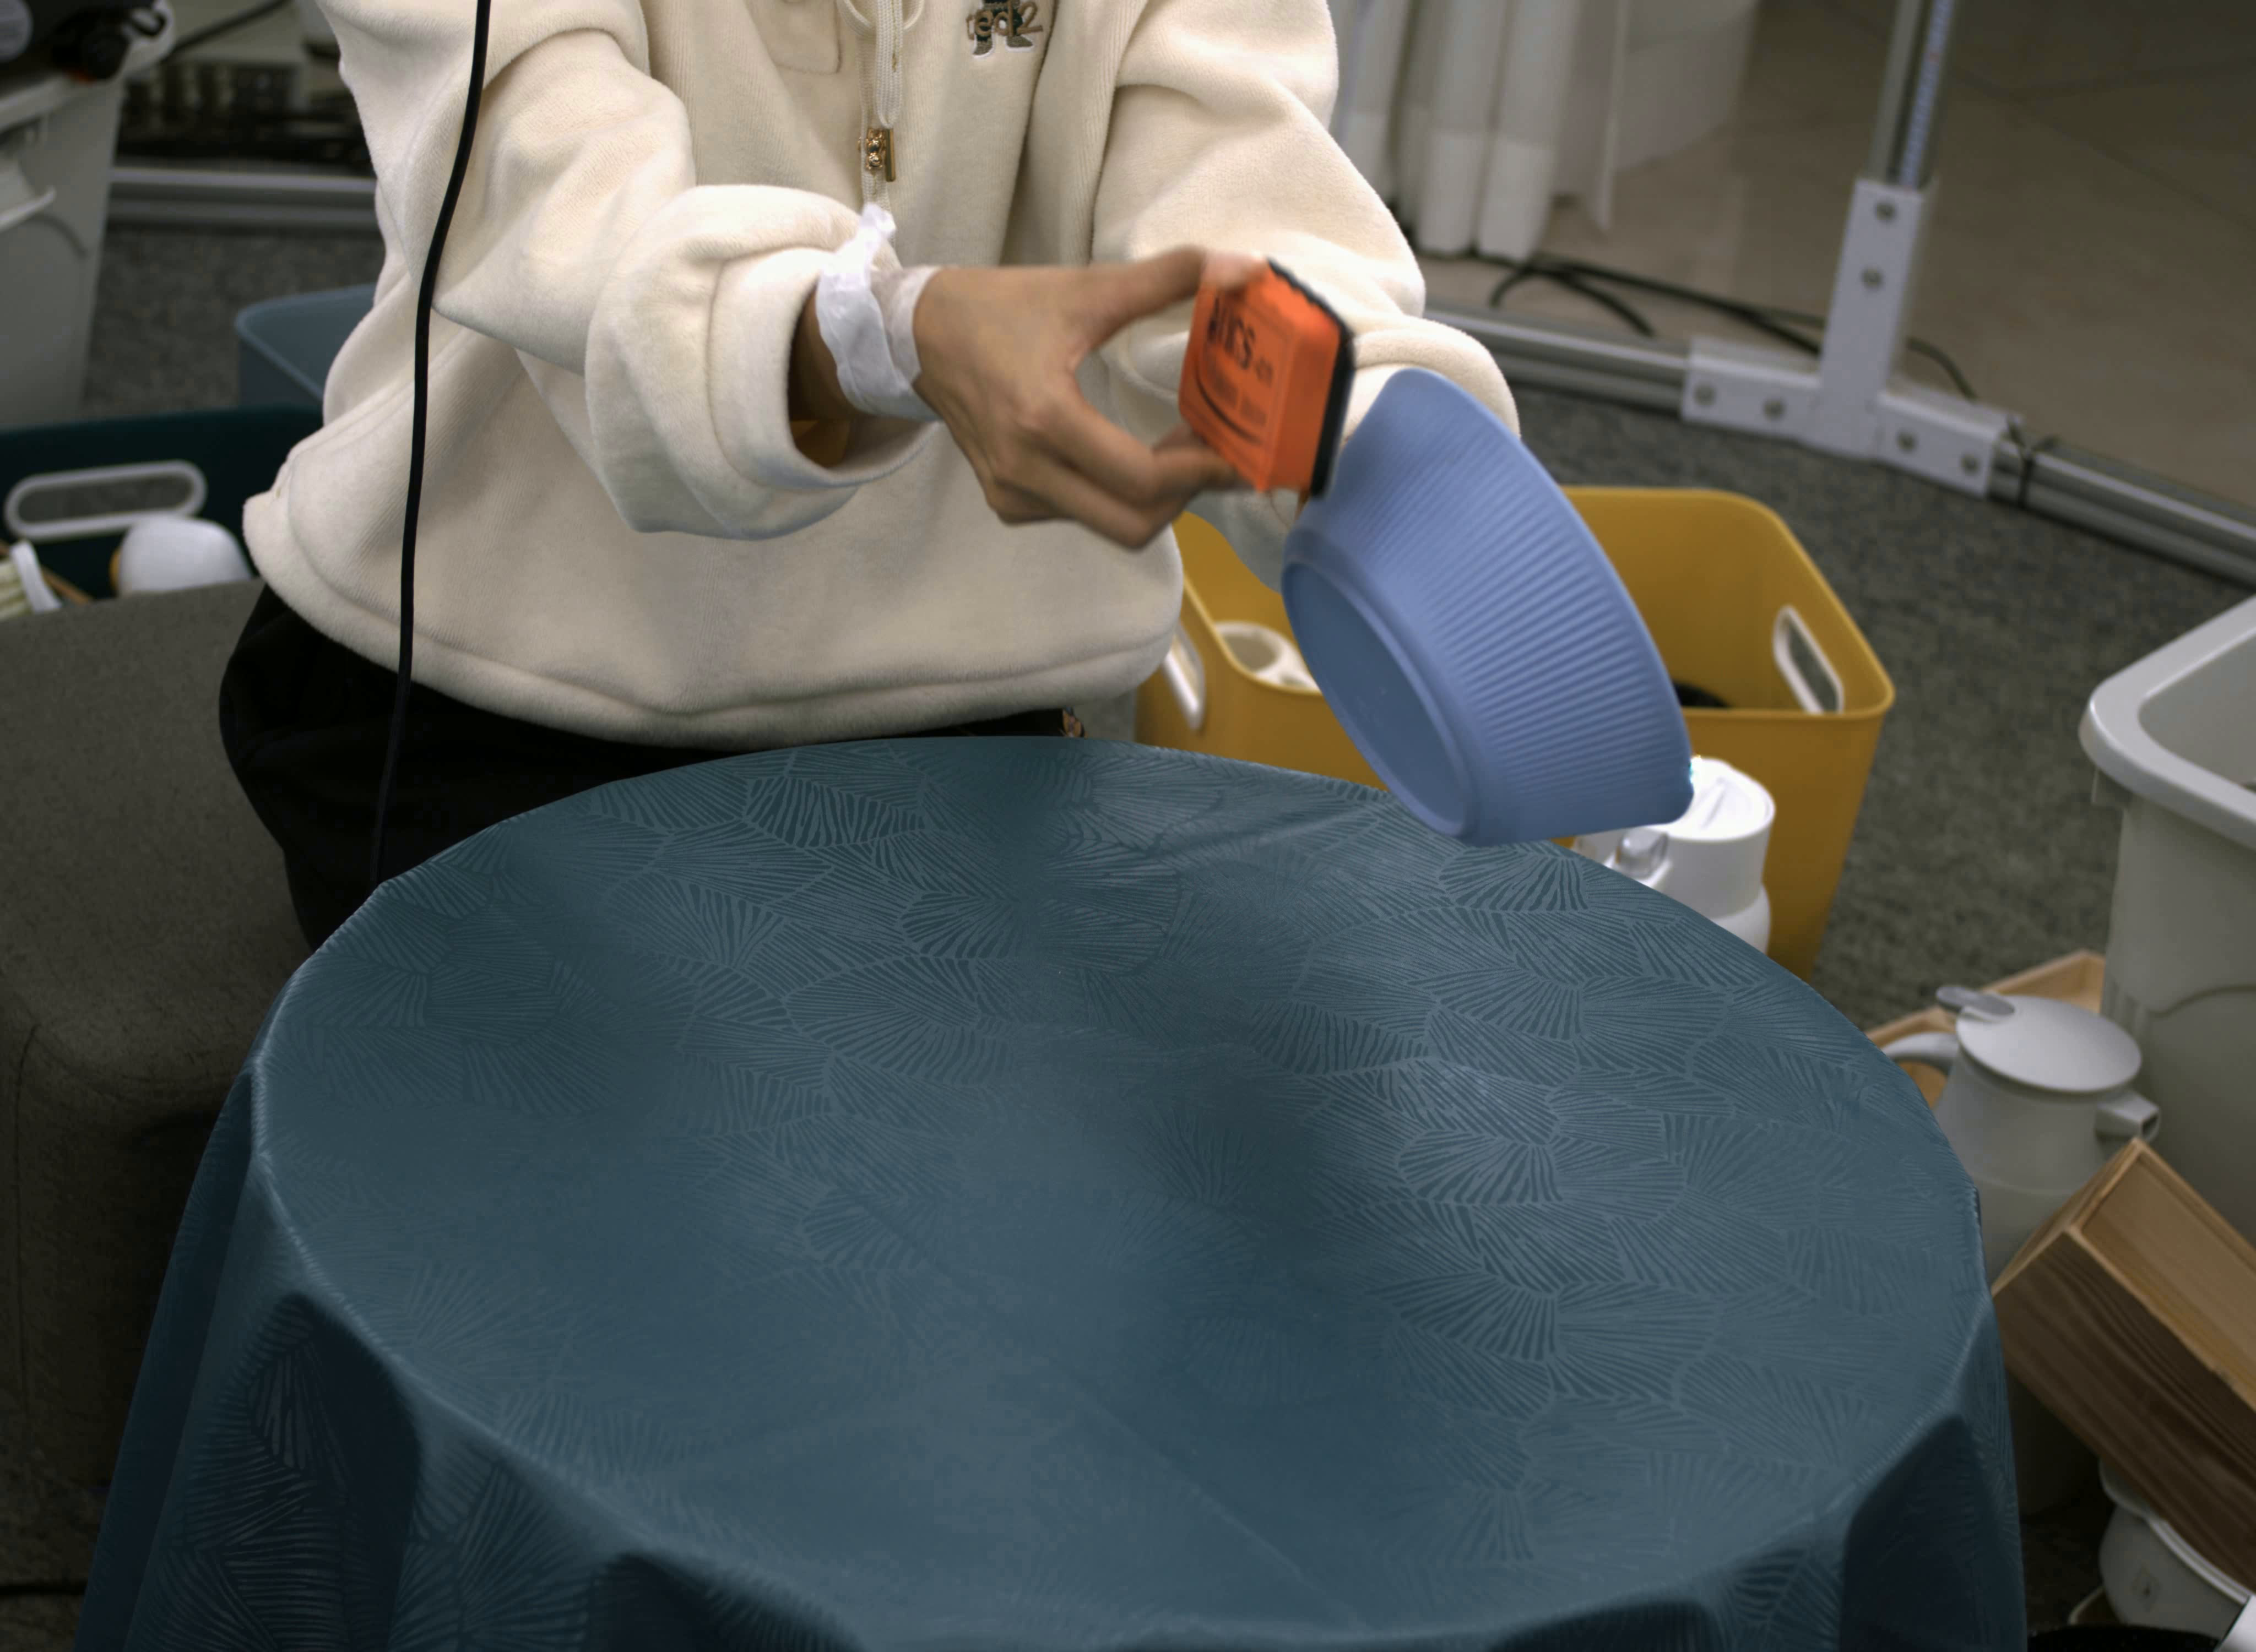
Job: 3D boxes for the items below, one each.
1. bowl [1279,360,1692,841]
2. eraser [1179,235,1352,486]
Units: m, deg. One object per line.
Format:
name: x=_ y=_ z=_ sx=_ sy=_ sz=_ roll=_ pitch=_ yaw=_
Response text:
bowl: x=0.108 y=-0.061 z=1.755 sx=0.070 sy=0.175 sz=0.177 roll=-32 pitch=39 yaw=-12
eraser: x=0.043 y=-0.149 z=1.701 sx=0.023 sy=0.059 sz=0.109 roll=2 pitch=19 yaw=-16
